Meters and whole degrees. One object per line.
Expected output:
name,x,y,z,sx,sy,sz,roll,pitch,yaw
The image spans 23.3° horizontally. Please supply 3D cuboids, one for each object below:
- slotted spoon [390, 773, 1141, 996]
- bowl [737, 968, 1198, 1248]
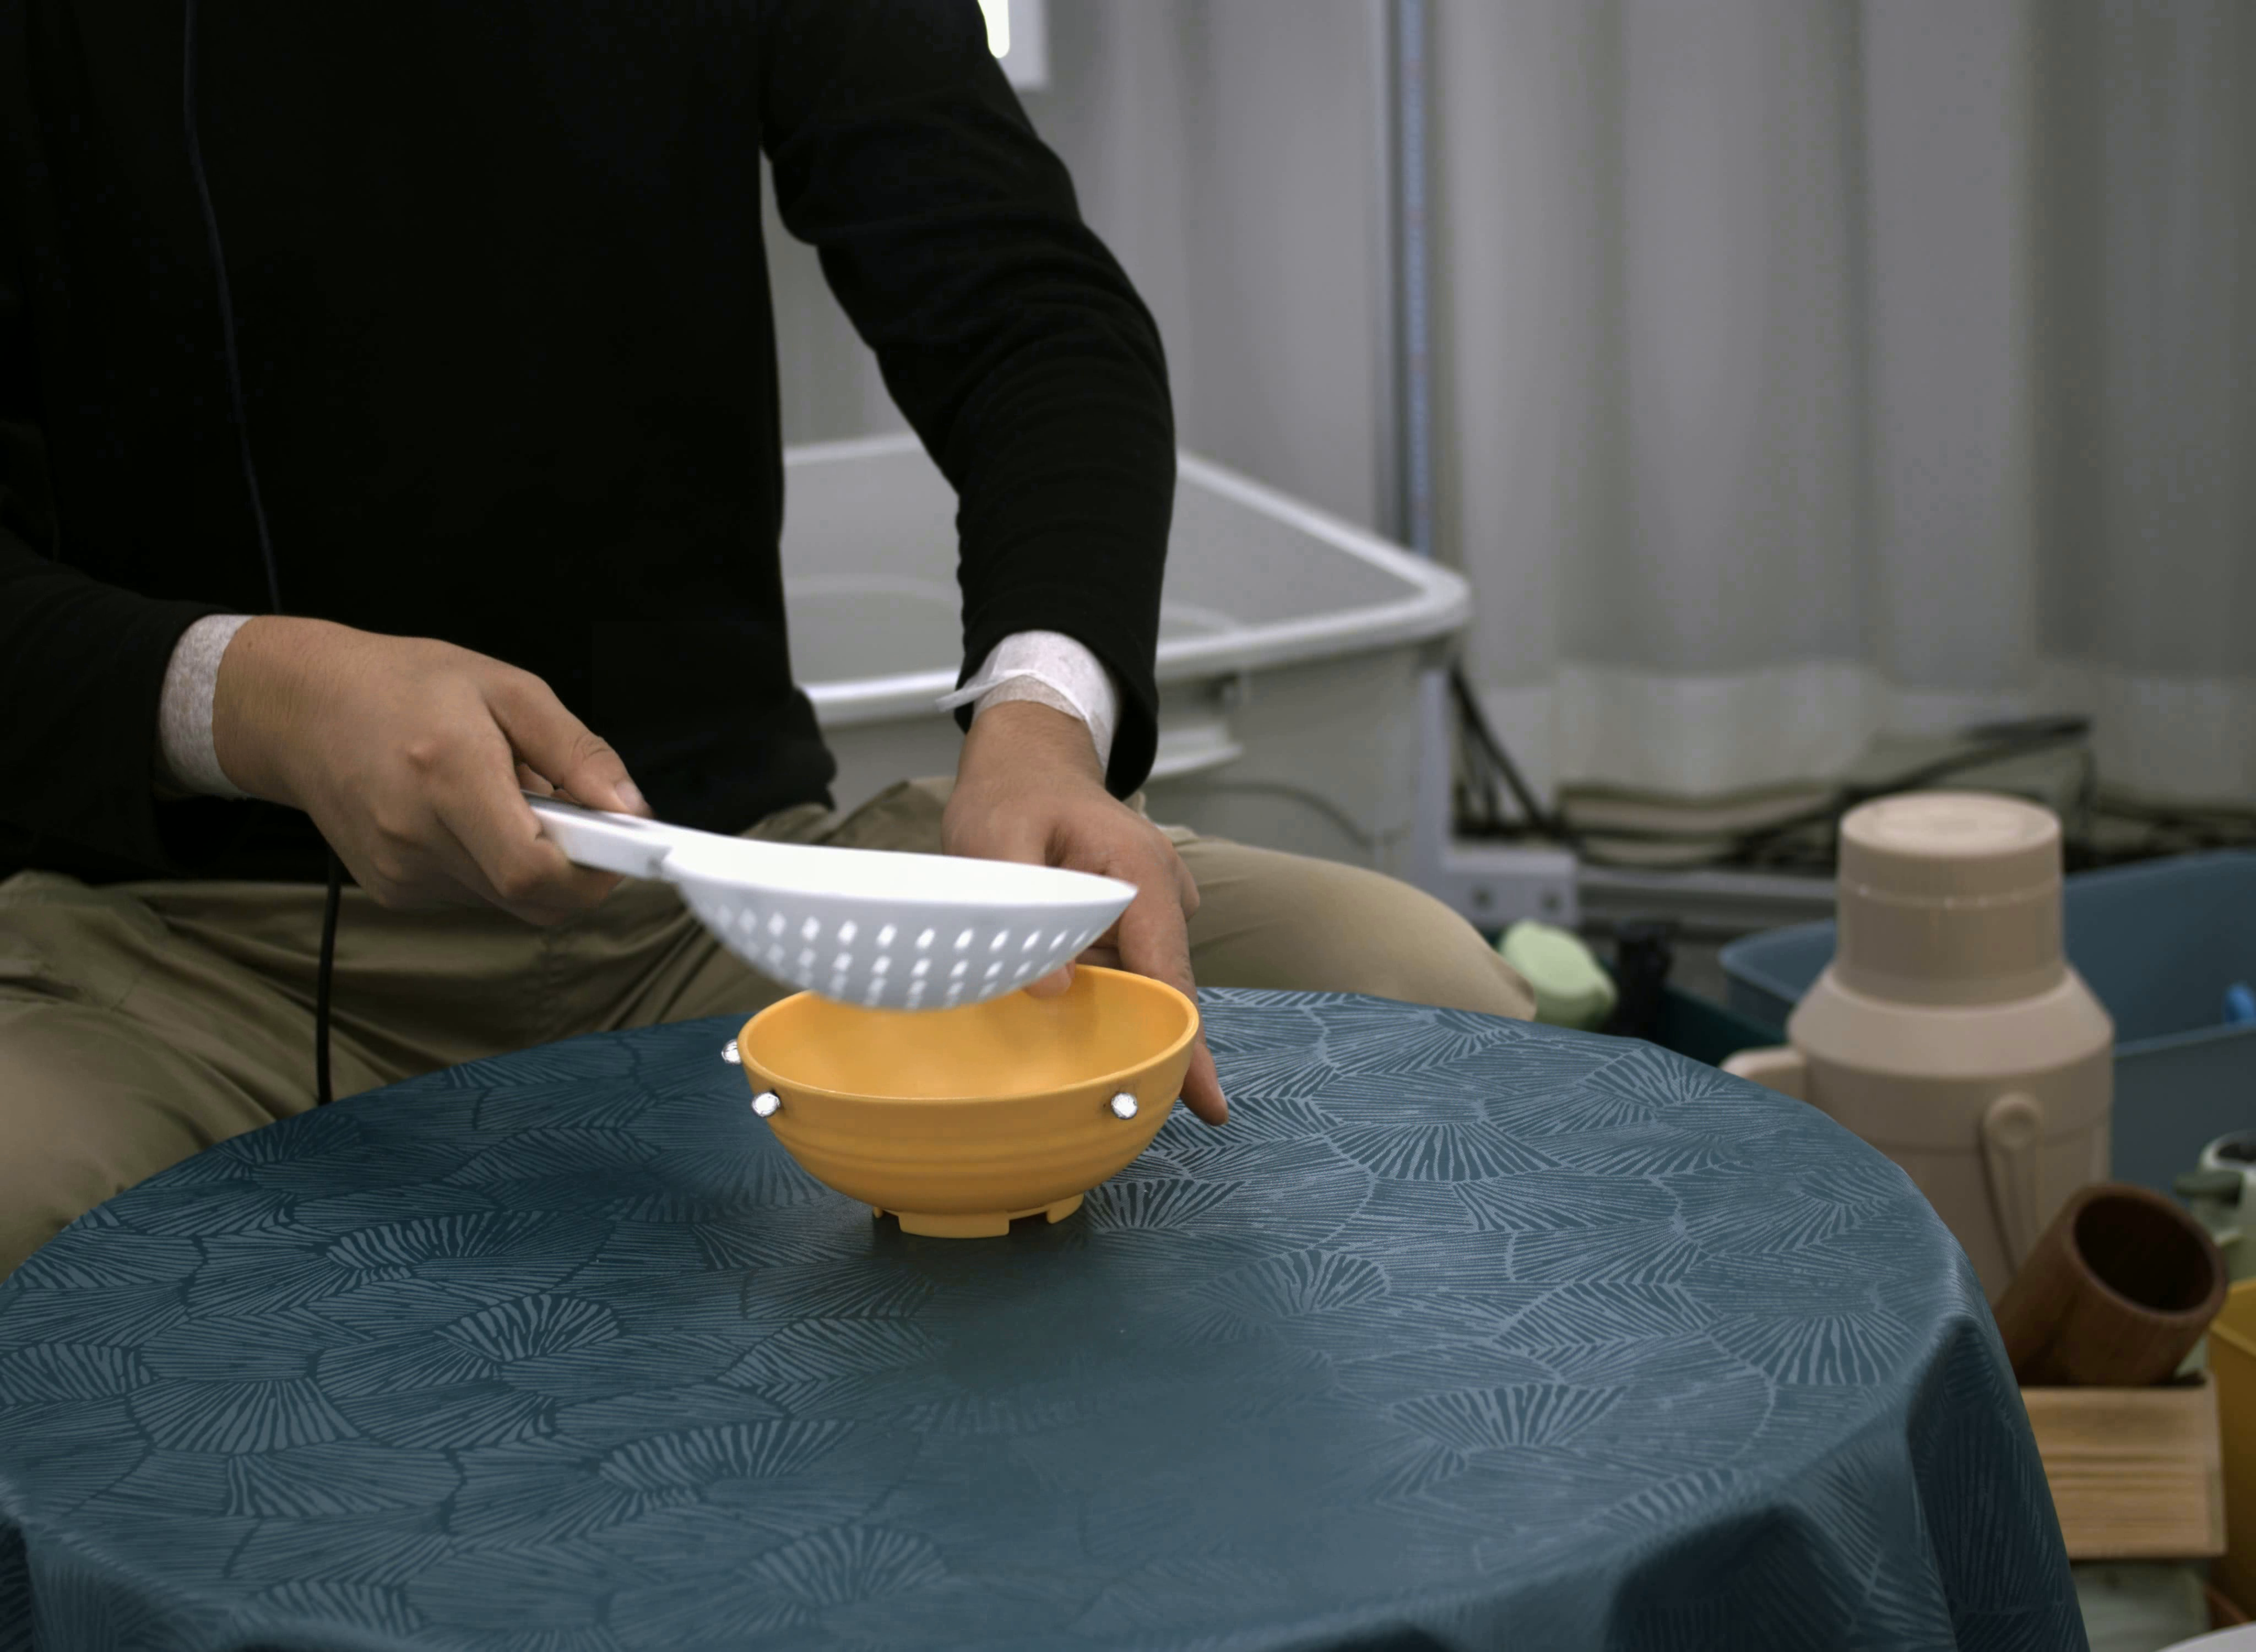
slotted spoon,-0.129,0.007,1.667,0.135,0.046,0.352,2,9,-37
bowl,-0.050,0.093,1.705,0.145,0.060,0.146,-1,15,0
